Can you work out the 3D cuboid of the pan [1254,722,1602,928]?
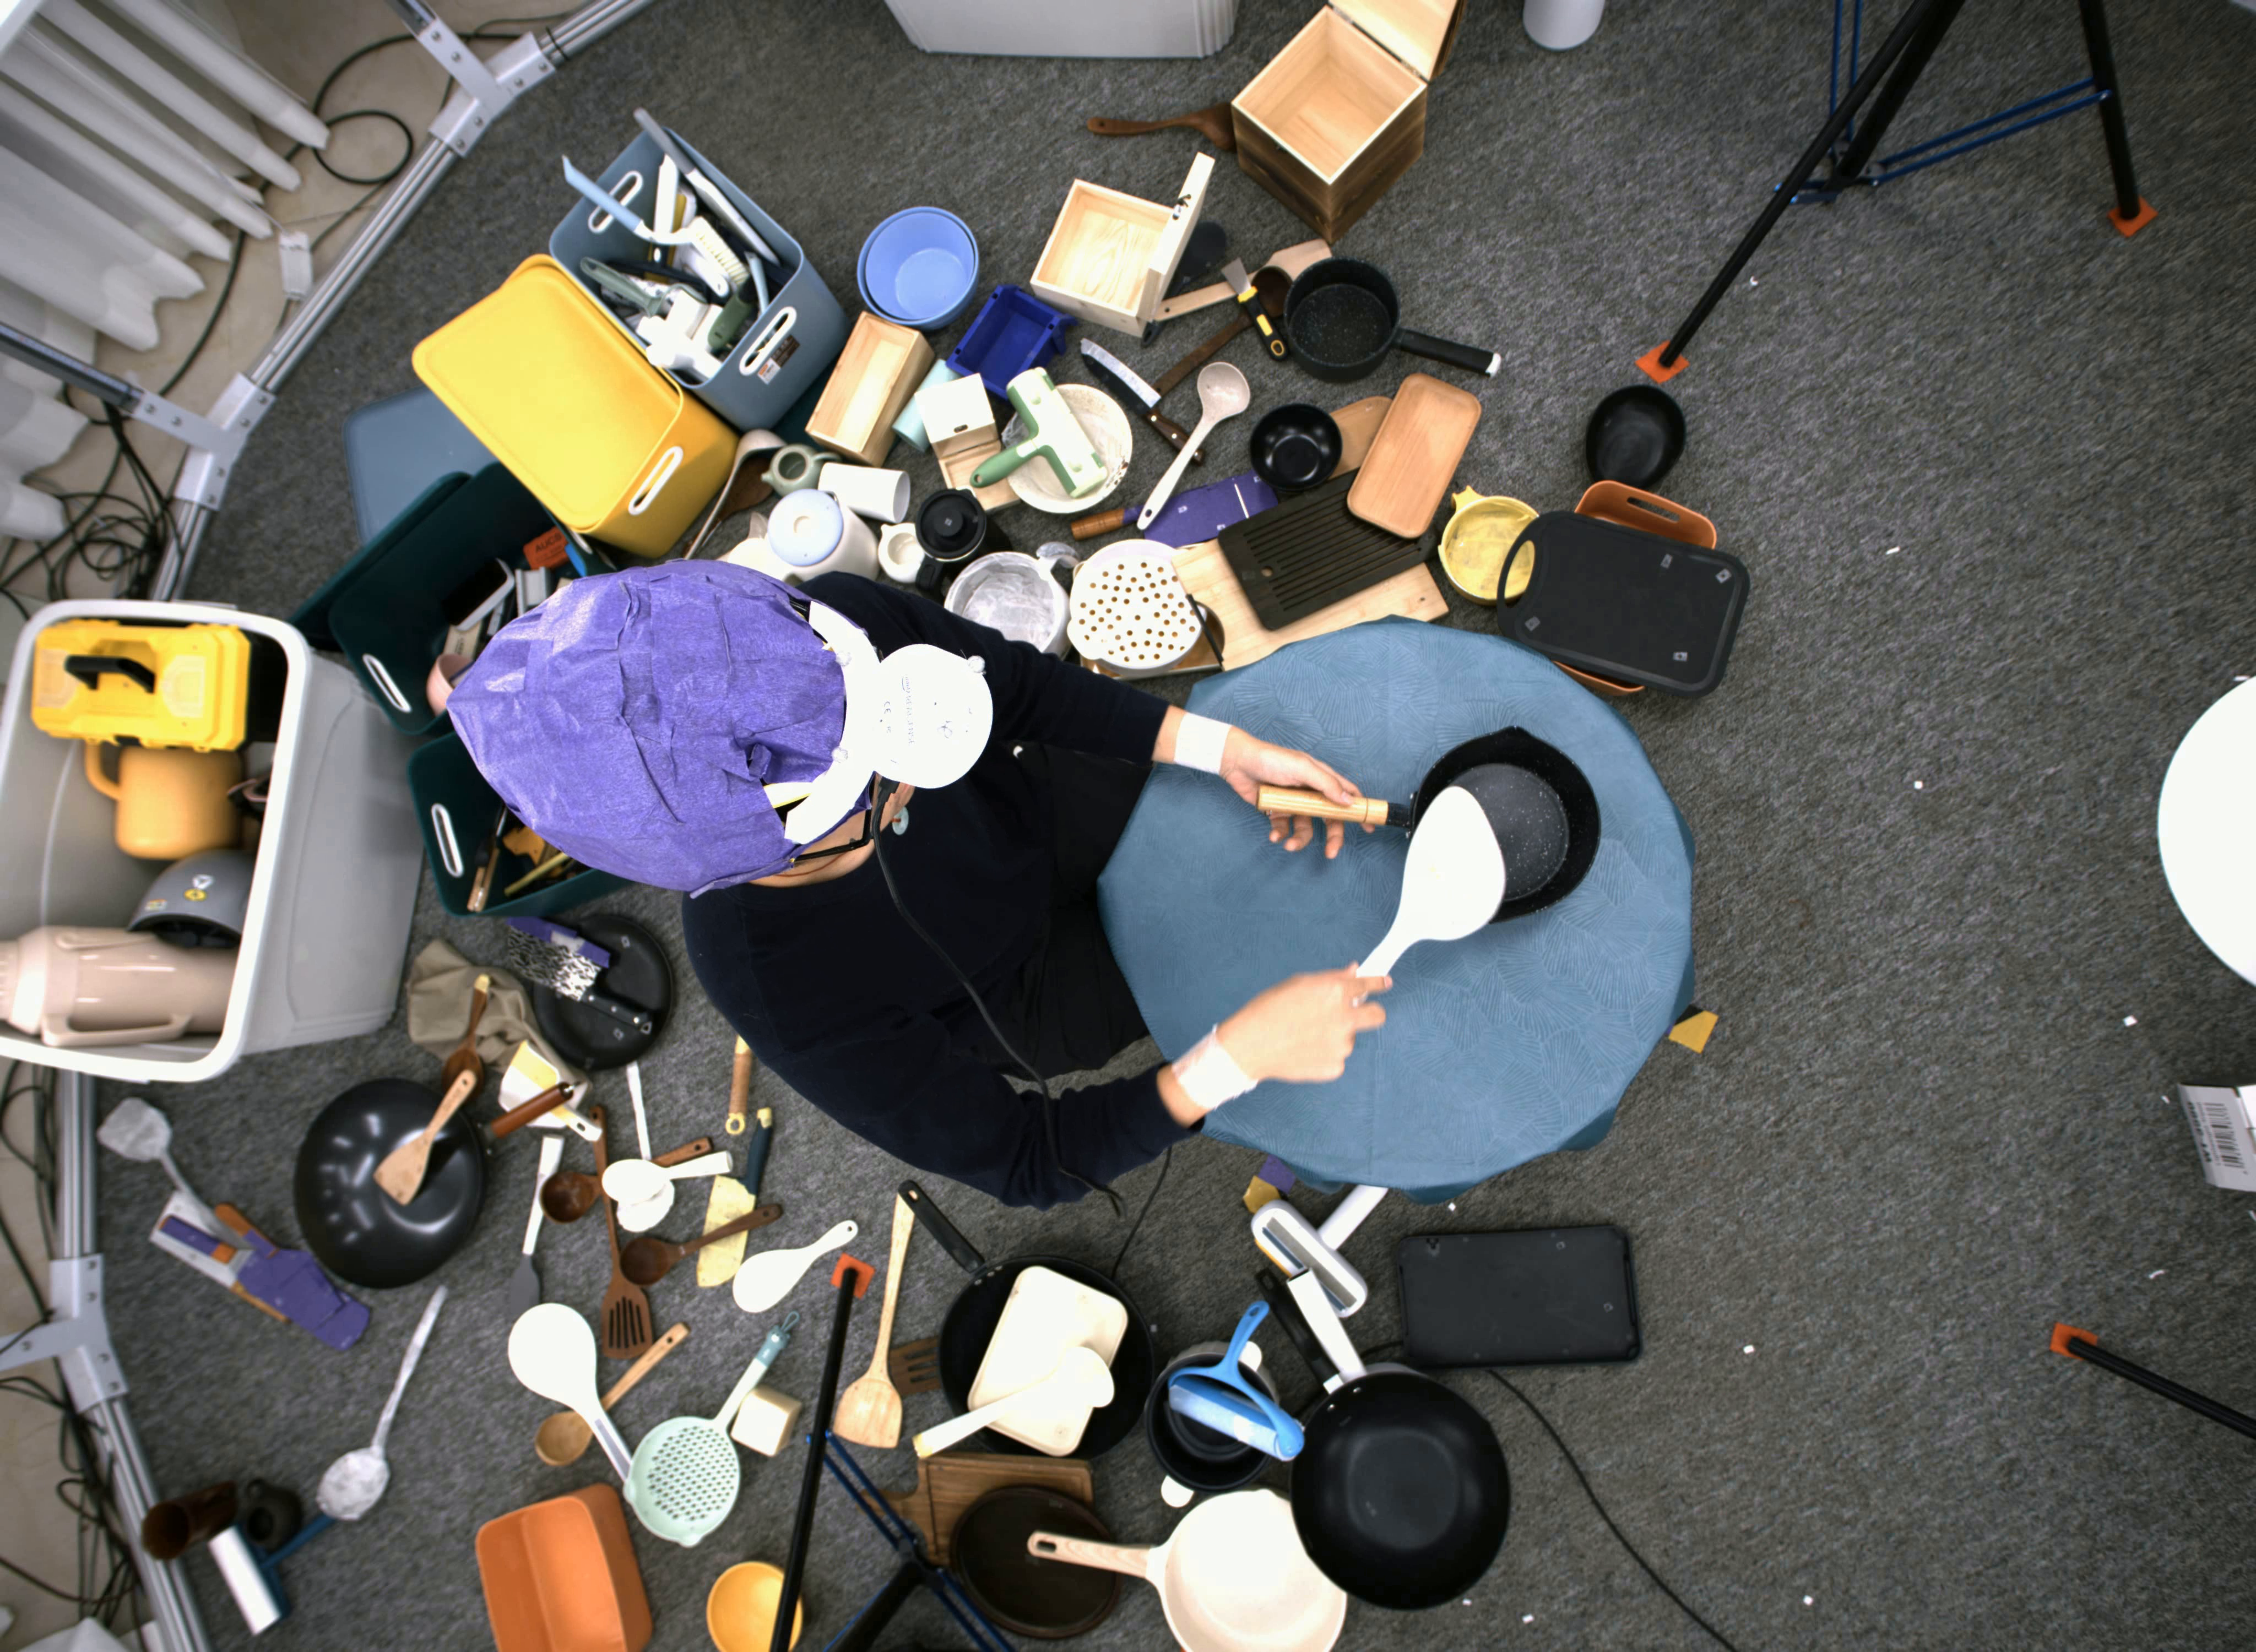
[{"bbox_3d":[0.301,-0.007,1.404,0.344,0.108,0.207,5,88,9],"label":"pan"}]

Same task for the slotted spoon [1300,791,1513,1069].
[{"bbox_3d":[0.255,0.097,1.266,0.051,0.340,0.138,-10,118,46],"label":"slotted spoon"}]
